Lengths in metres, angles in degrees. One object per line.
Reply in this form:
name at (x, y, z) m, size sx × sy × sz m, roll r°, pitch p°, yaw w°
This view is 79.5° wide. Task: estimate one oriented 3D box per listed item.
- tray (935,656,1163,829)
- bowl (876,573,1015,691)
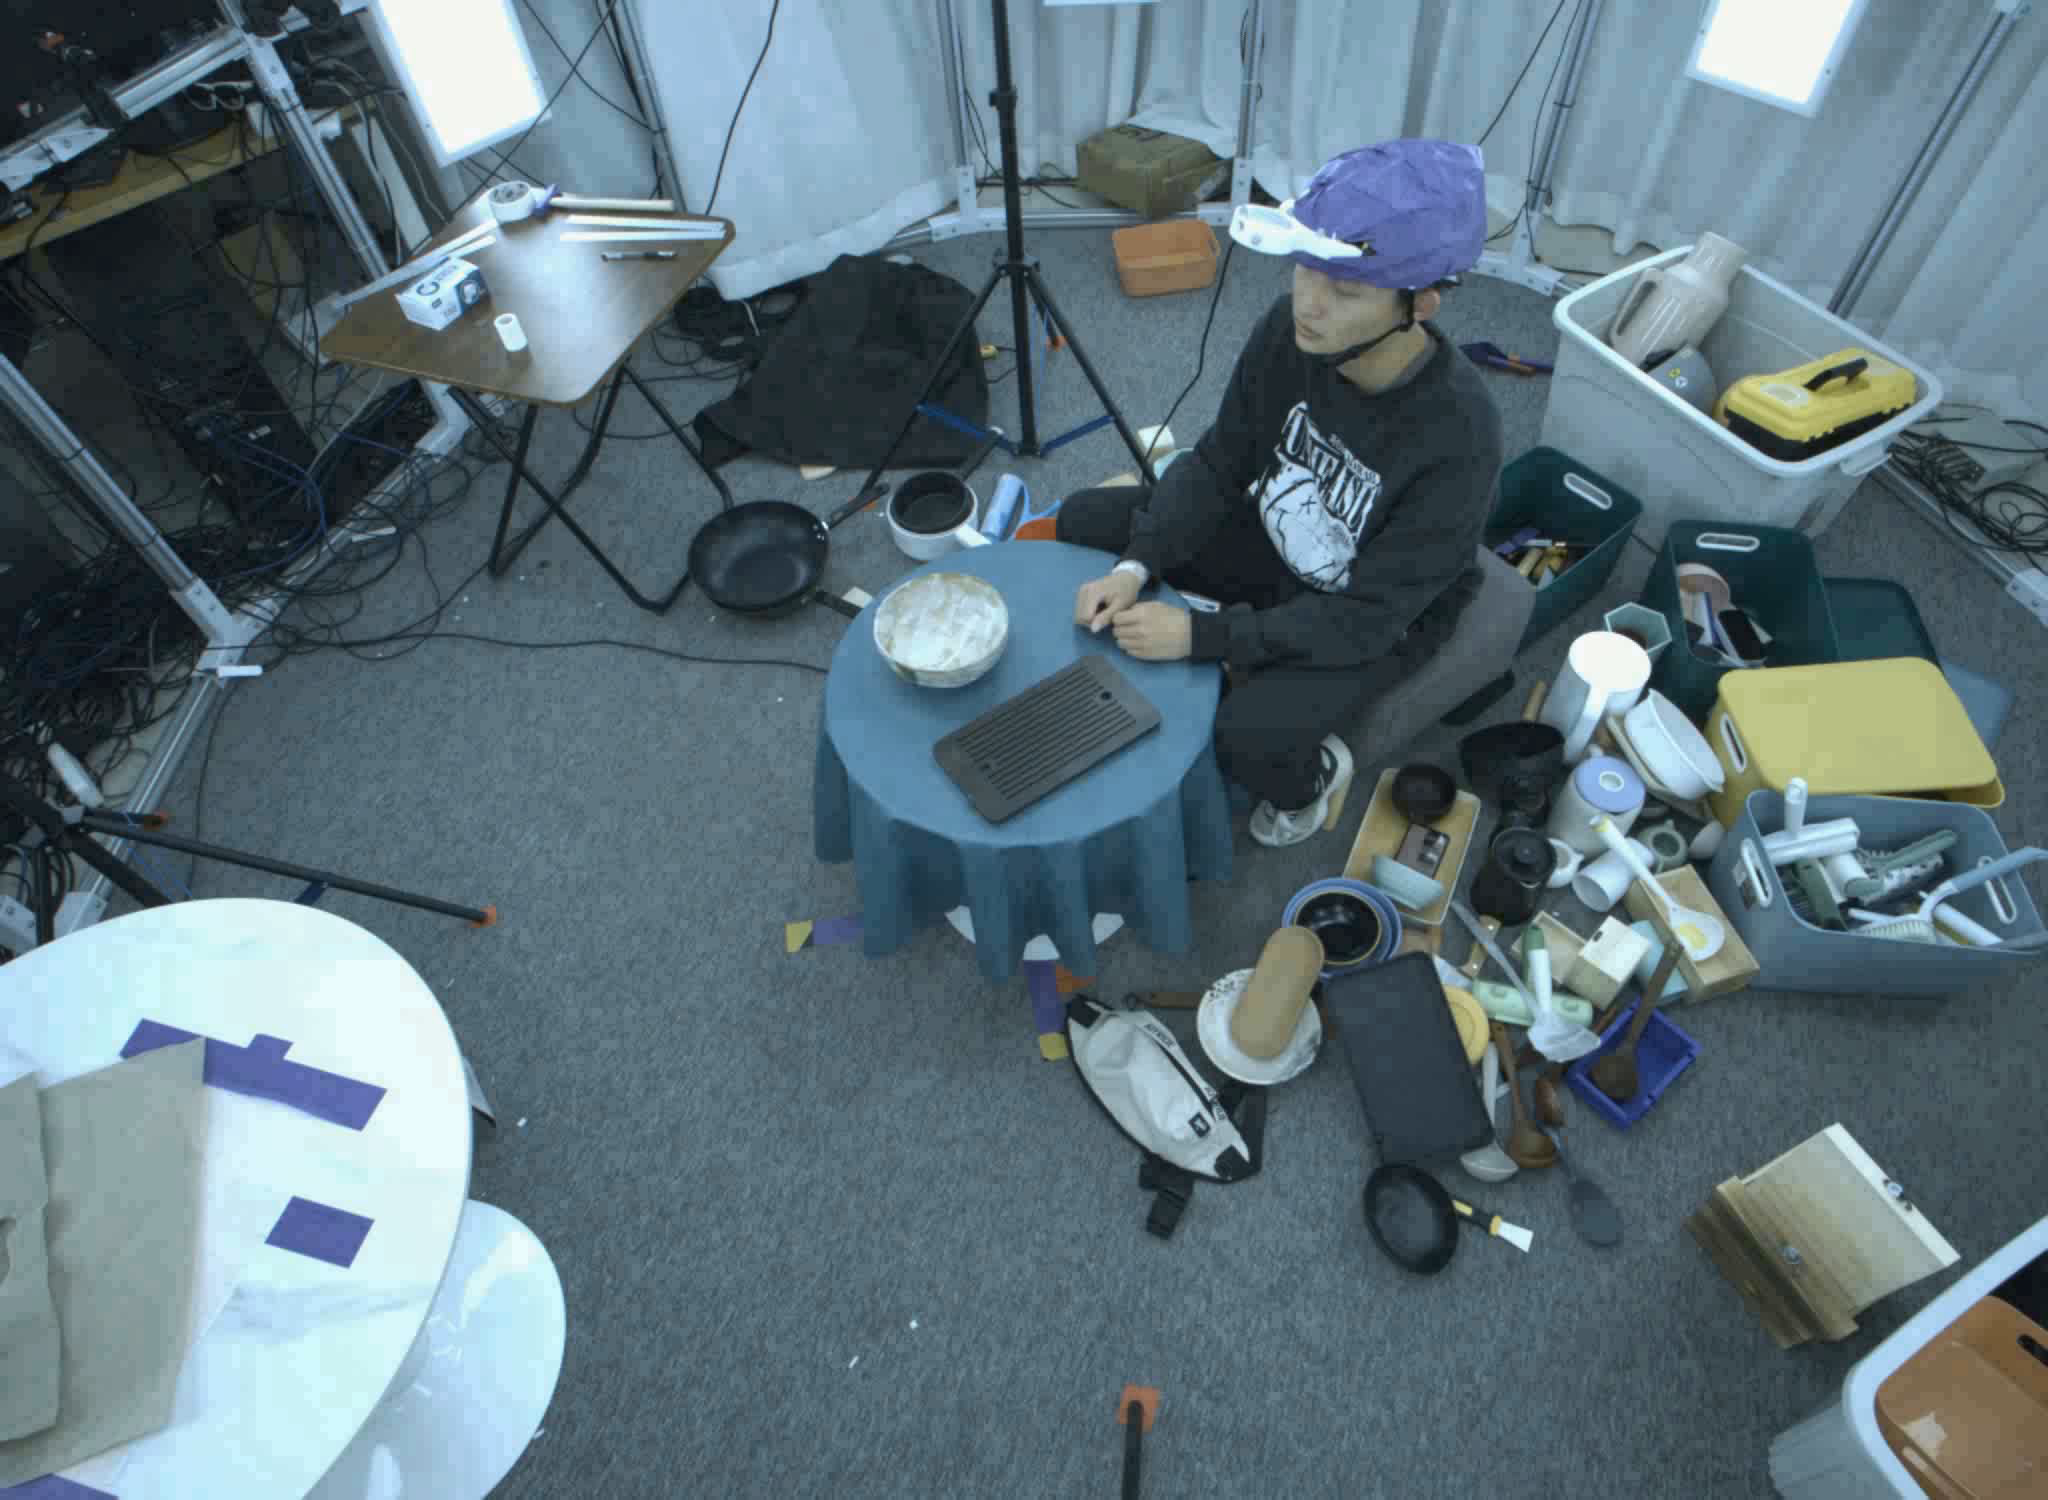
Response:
tray at (0.037, -0.015, 1.796) m, size 0.308 × 0.019 × 0.167 m, roll -31°, pitch 60°, yaw -19°
bowl at (-0.115, -0.160, 1.857) m, size 0.214 × 0.095 × 0.212 m, roll 0°, pitch 54°, yaw 2°
